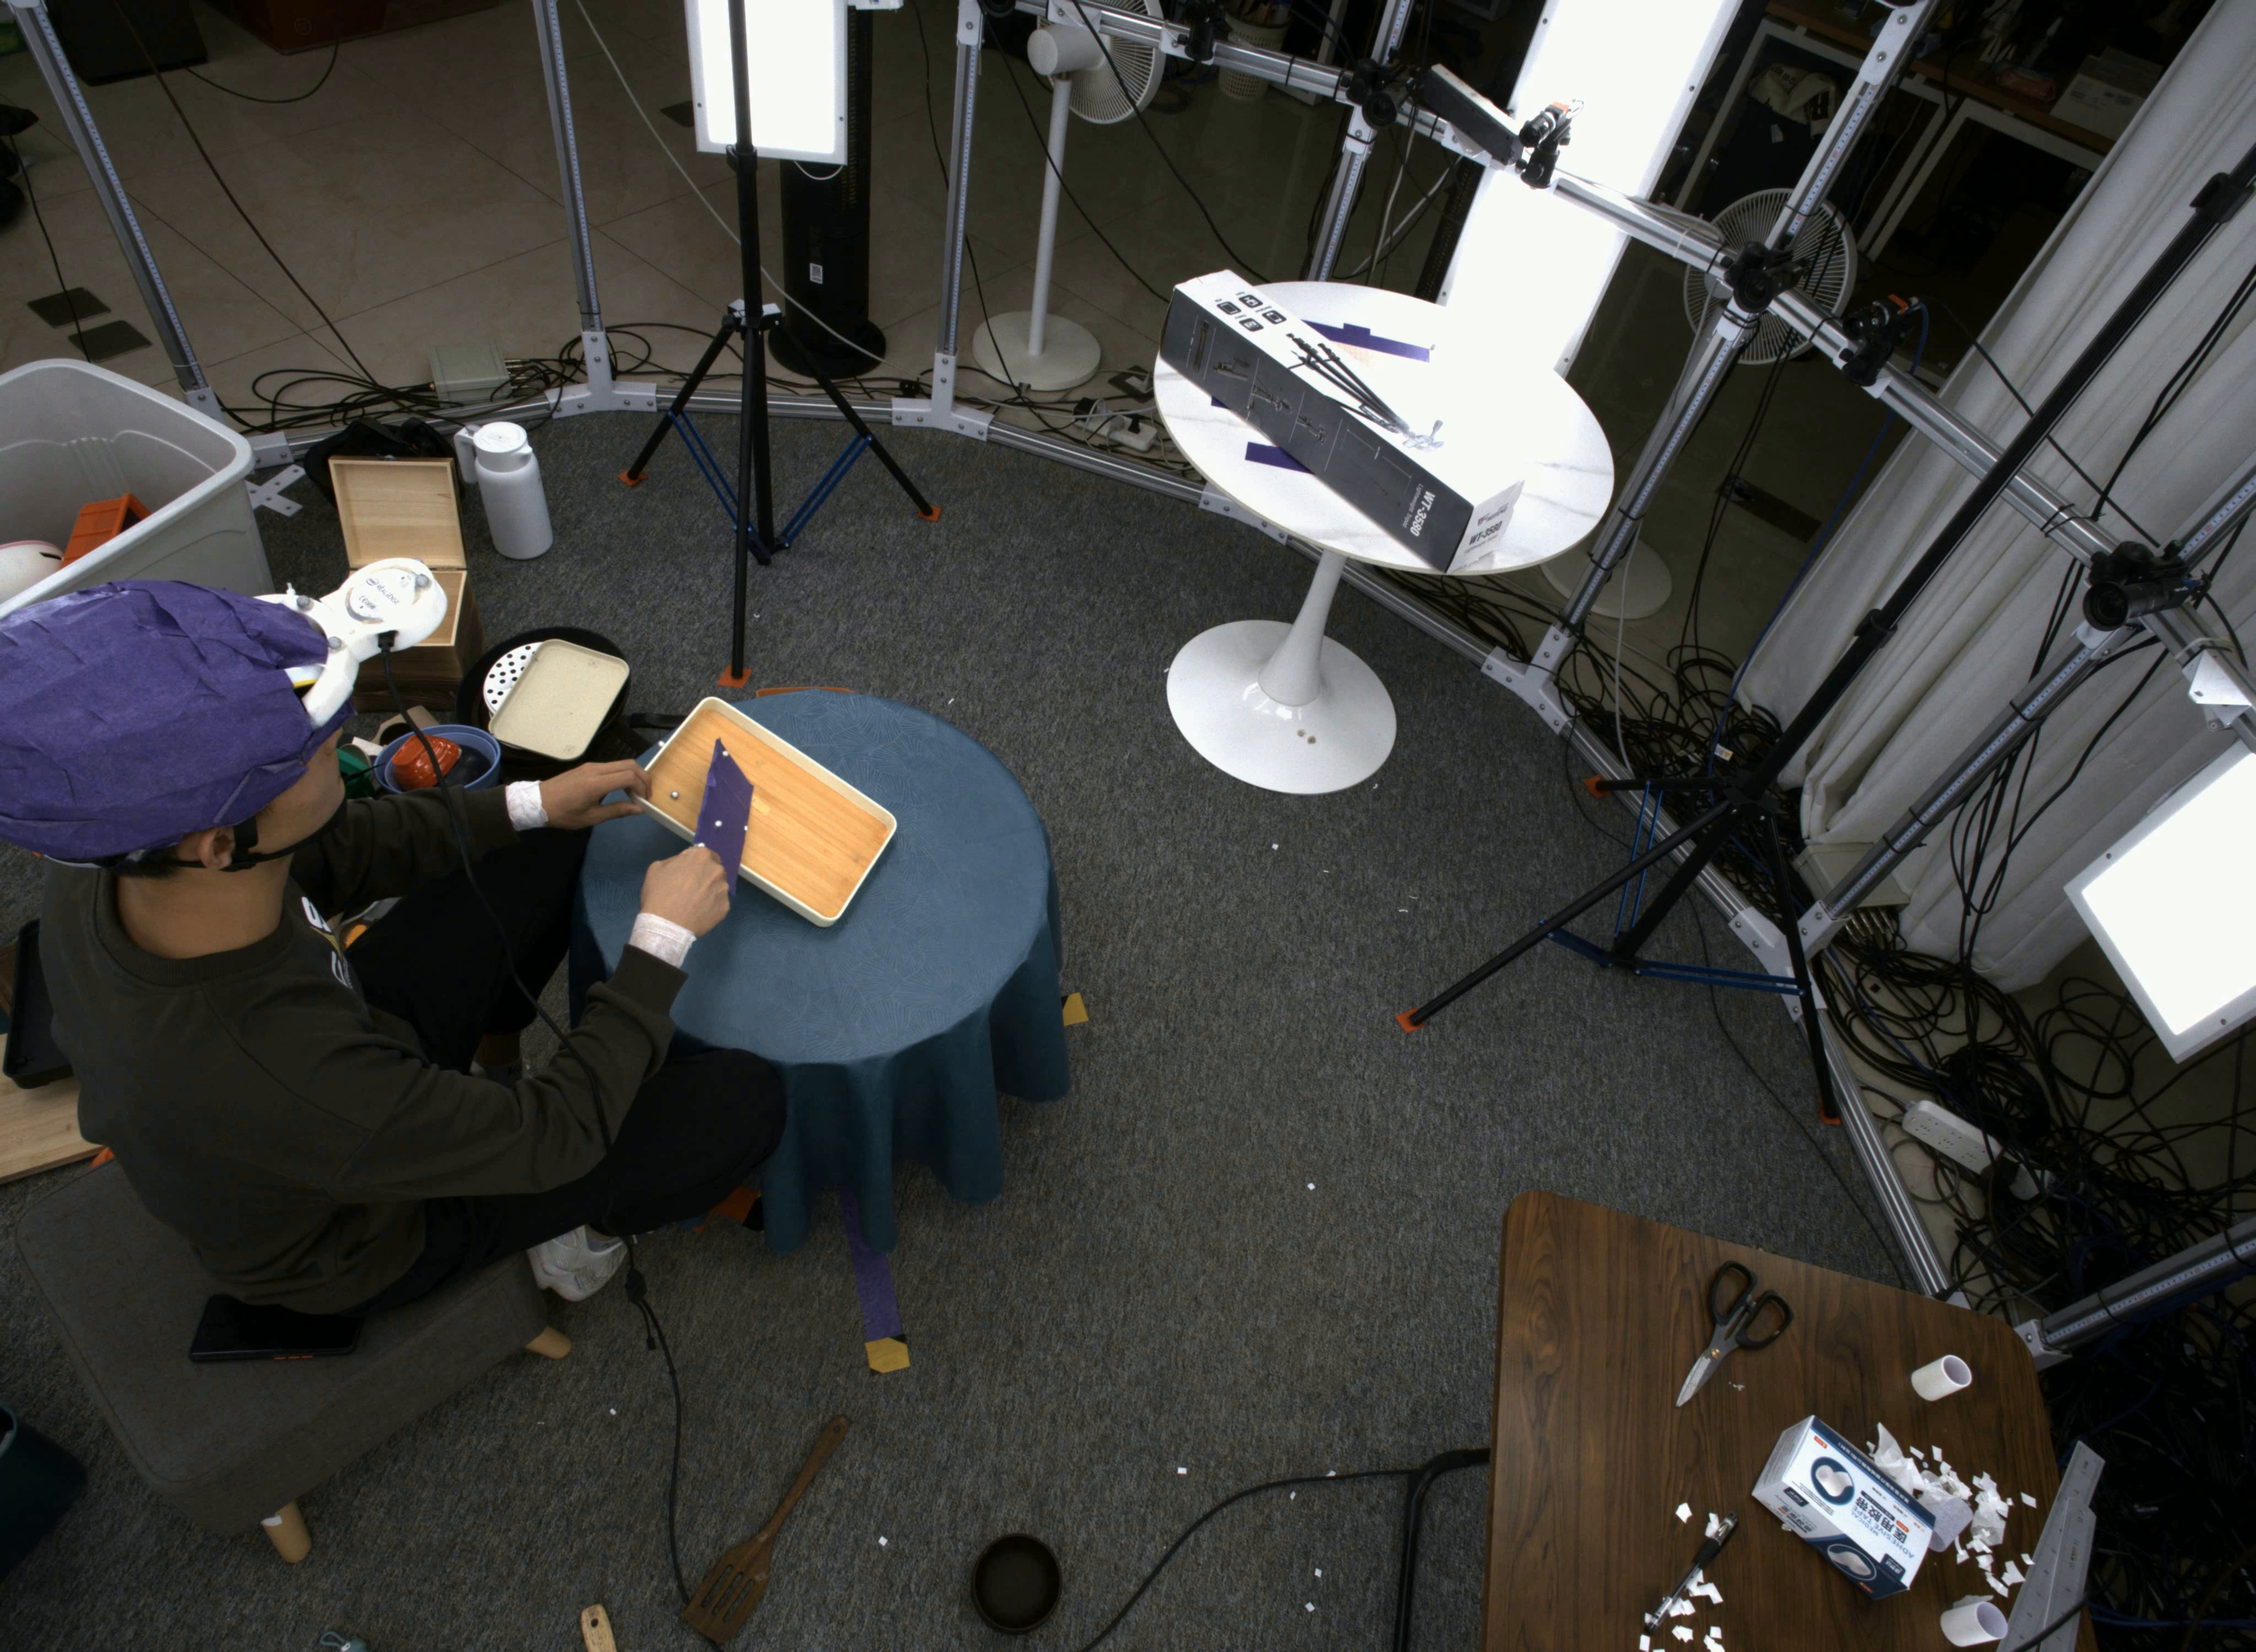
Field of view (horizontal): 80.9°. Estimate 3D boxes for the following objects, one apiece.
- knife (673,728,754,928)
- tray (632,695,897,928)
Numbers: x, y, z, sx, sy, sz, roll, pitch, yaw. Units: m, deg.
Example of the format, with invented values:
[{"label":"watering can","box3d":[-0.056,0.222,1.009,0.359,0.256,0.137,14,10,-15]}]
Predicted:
[{"label":"knife","box3d":[-0.480,0.014,1.527,0.032,0.108,0.307,-17,43,11]},{"label":"tray","box3d":[-0.461,-0.021,1.659,0.304,0.027,0.190,35,51,-13]}]
